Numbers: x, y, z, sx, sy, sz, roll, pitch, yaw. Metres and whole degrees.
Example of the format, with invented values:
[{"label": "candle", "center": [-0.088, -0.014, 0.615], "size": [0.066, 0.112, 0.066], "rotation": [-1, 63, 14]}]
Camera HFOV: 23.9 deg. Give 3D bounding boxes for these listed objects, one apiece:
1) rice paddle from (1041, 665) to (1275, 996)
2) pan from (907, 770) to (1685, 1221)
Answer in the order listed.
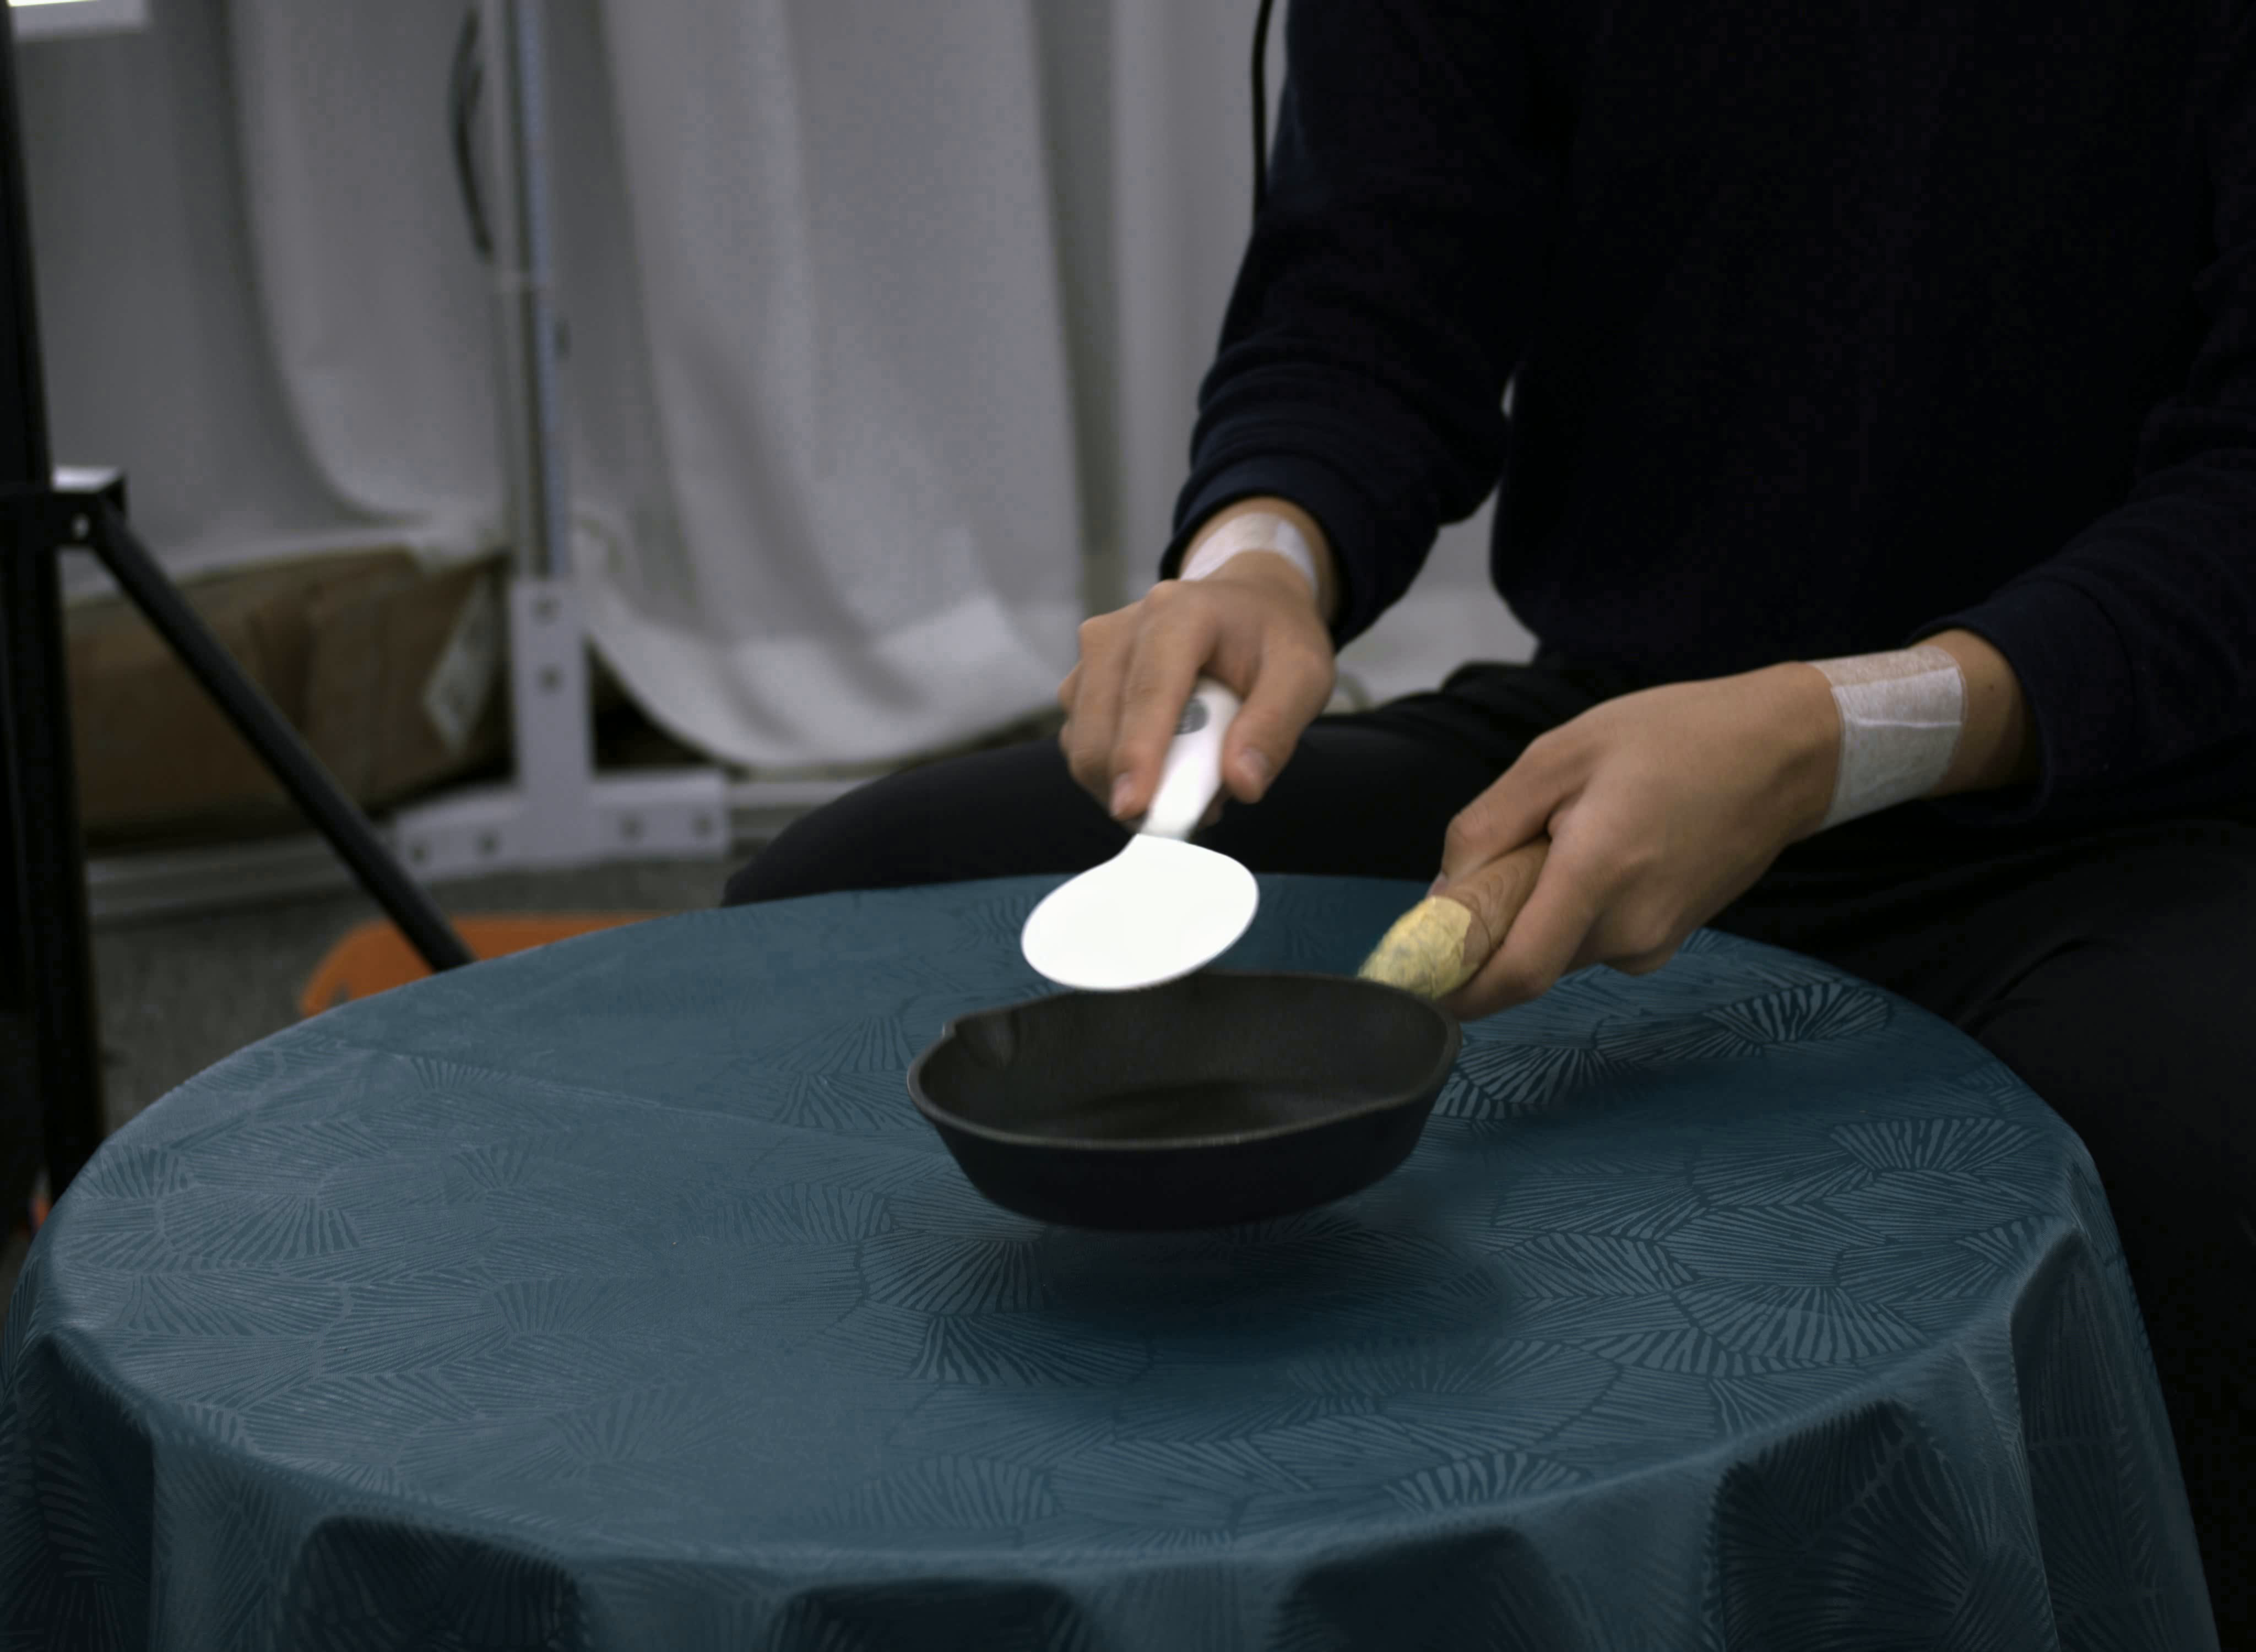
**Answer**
[{"label": "rice paddle", "center": [0.016, 0.003, 1.584], "size": [0.069, 0.029, 0.205], "rotation": [-9, 22, 11]}, {"label": "pan", "center": [0.071, 0.047, 1.553], "size": [0.172, 0.049, 0.317], "rotation": [8, 22, 41]}]
